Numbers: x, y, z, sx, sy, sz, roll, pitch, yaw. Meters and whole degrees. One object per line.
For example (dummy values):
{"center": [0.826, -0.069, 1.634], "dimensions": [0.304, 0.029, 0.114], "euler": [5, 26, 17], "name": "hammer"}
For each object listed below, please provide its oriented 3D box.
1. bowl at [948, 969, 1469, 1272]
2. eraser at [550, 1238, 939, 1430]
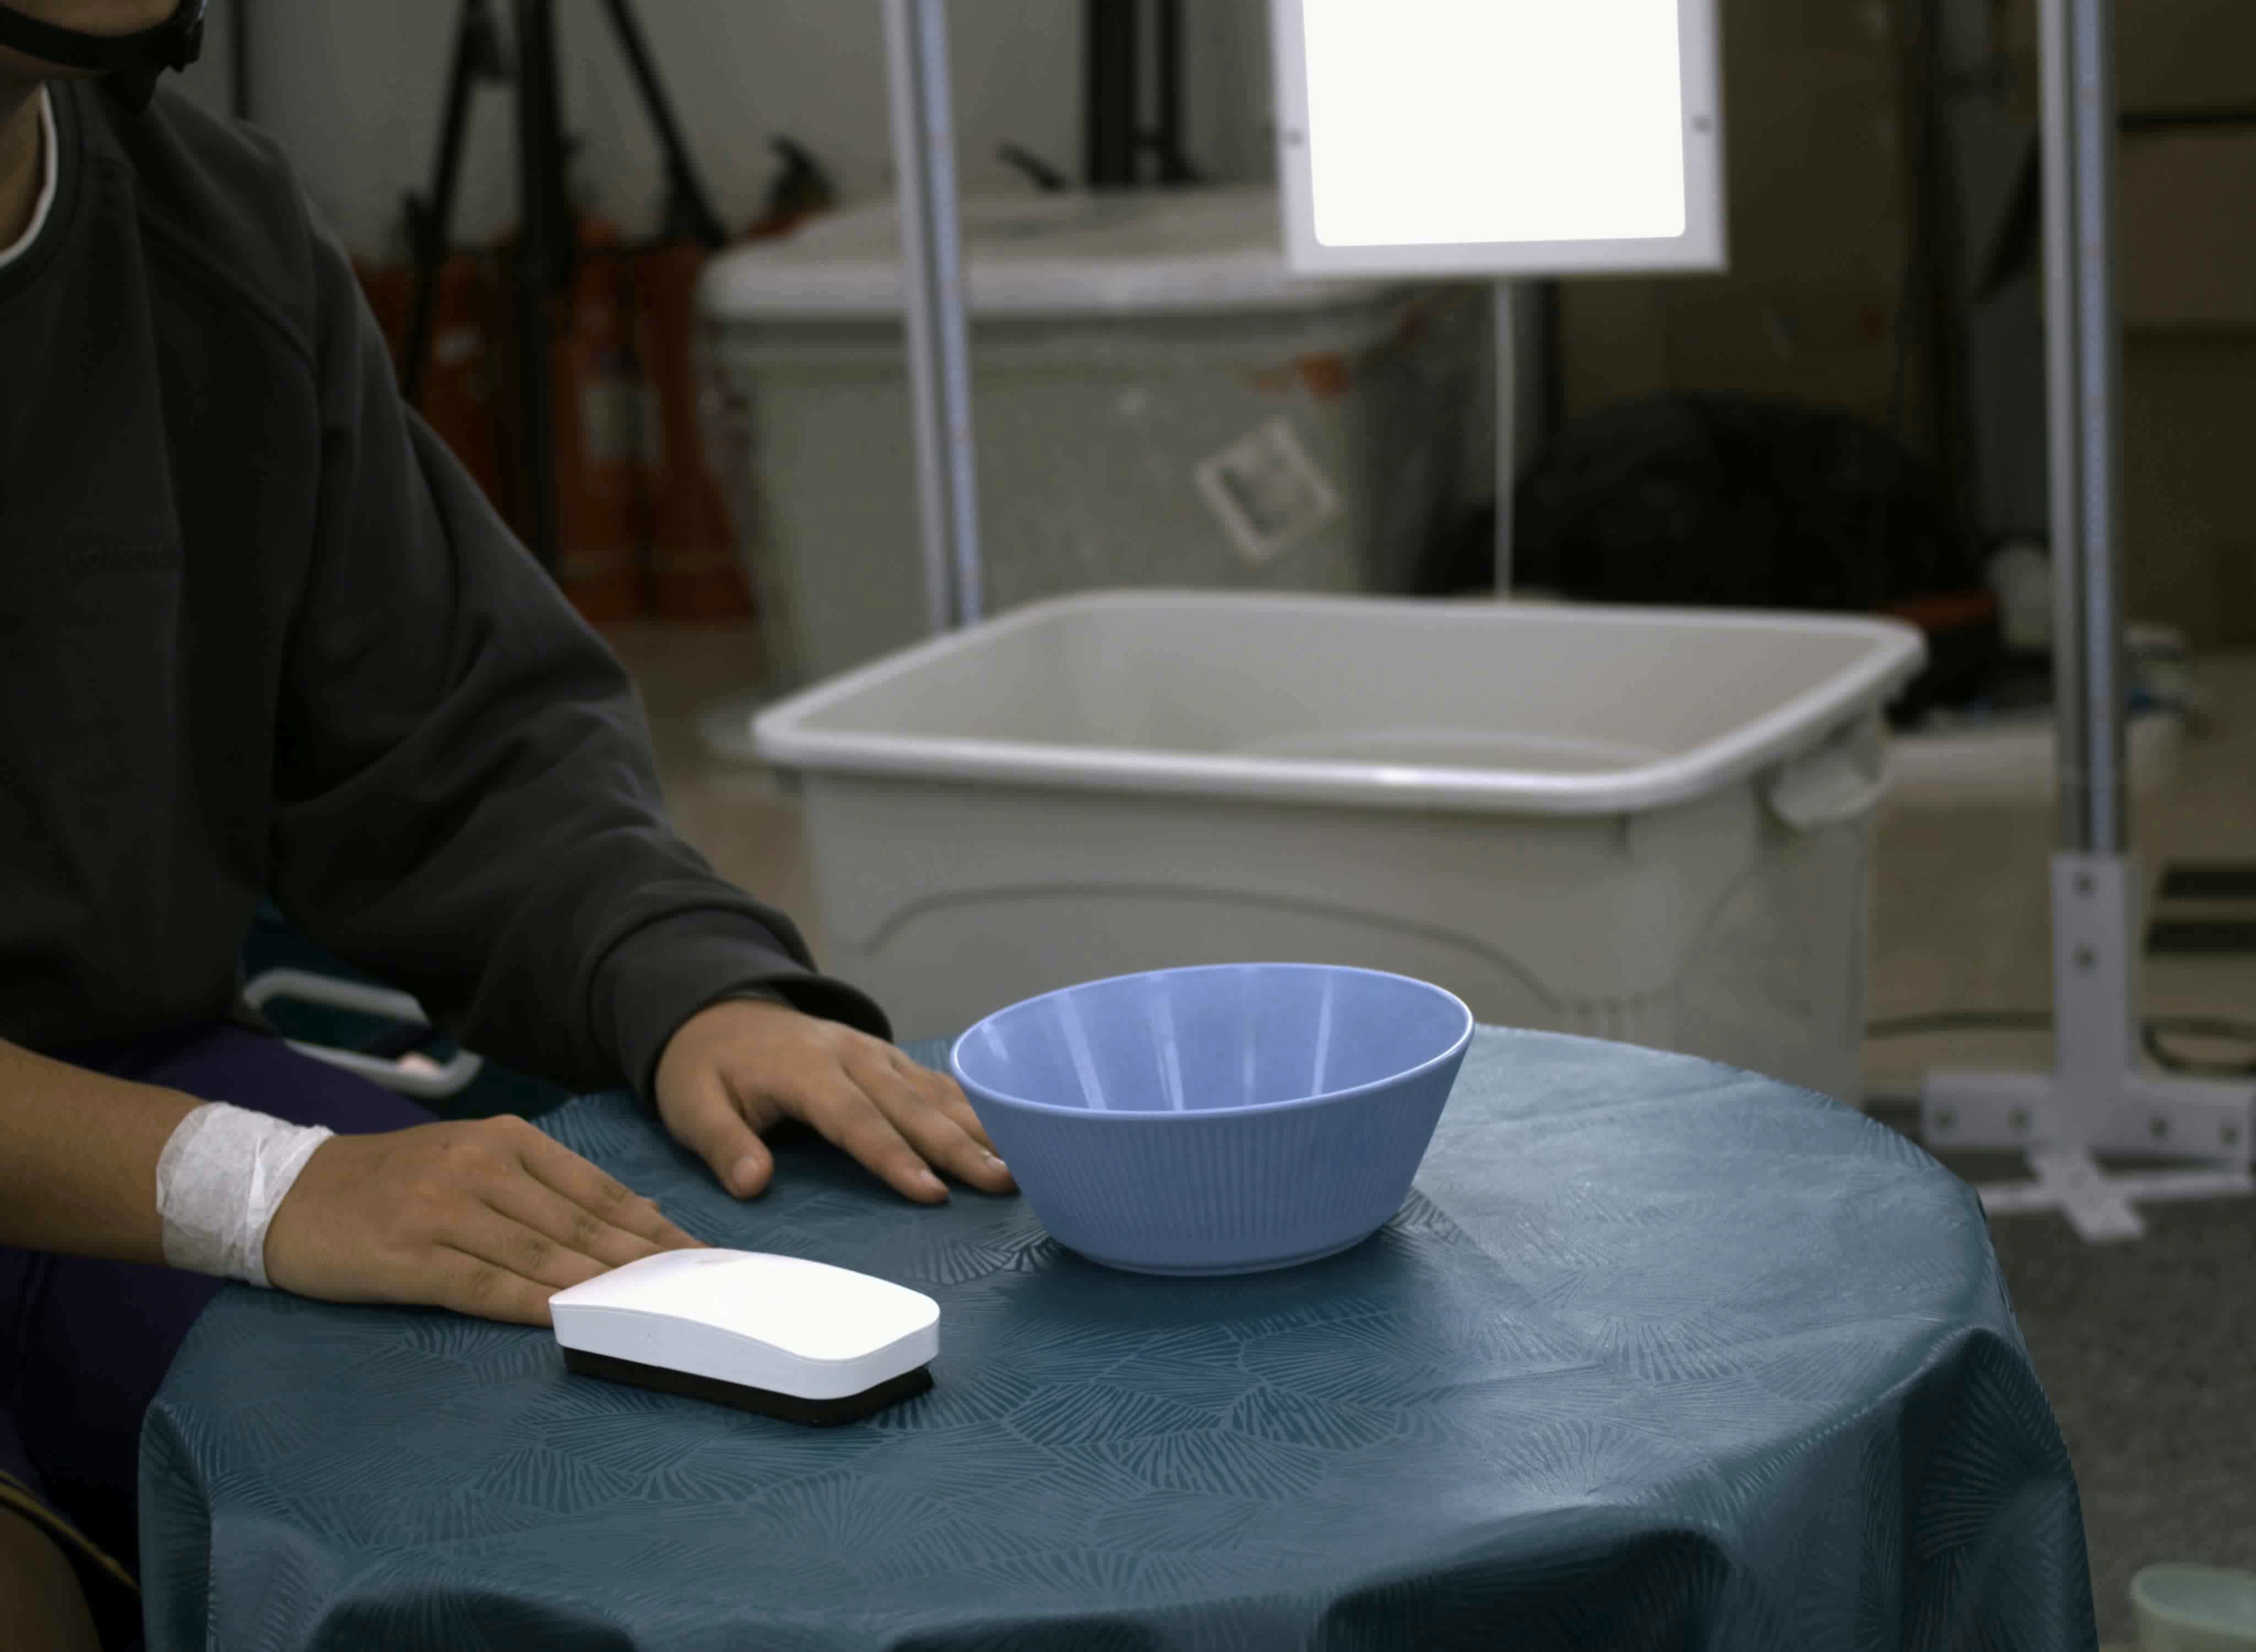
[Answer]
{"center": [0.029, 0.100, 1.842], "dimensions": [0.175, 0.070, 0.176], "euler": [-4, 13, 0], "name": "bowl"}
{"center": [-0.121, 0.158, 1.745], "dimensions": [0.134, 0.034, 0.062], "euler": [10, 19, 41], "name": "eraser"}
